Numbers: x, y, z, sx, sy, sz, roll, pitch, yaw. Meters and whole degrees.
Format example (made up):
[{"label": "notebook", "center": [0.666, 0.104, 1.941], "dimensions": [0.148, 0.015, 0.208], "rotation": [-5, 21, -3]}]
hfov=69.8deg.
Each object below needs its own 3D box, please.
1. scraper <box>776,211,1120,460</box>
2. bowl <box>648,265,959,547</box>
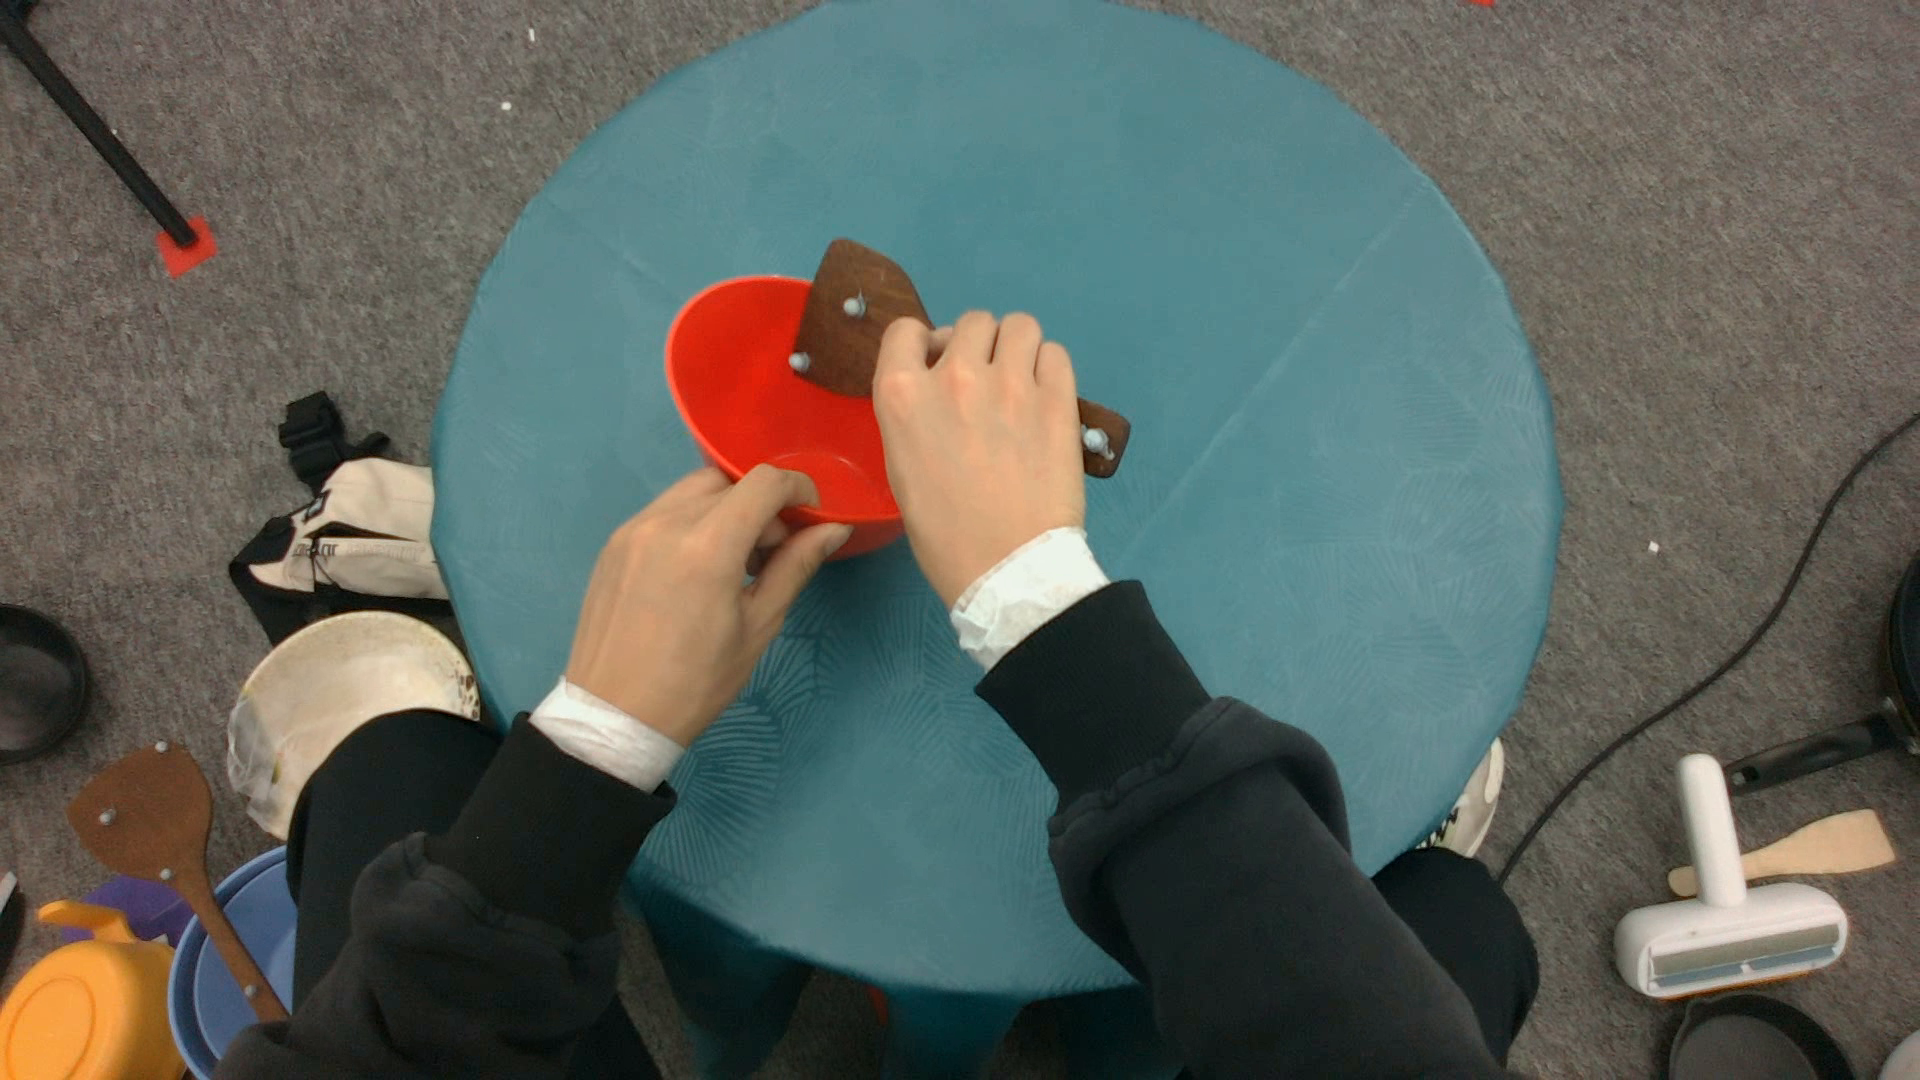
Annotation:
[{"label": "scraper", "center": [-0.010, -0.085, 0.609], "dimensions": [0.211, 0.011, 0.075], "rotation": [32, 107, 39]}, {"label": "bowl", "center": [-0.080, -0.051, 0.662], "dimensions": [0.148, 0.104, 0.148], "rotation": [10, 51, -12]}]
